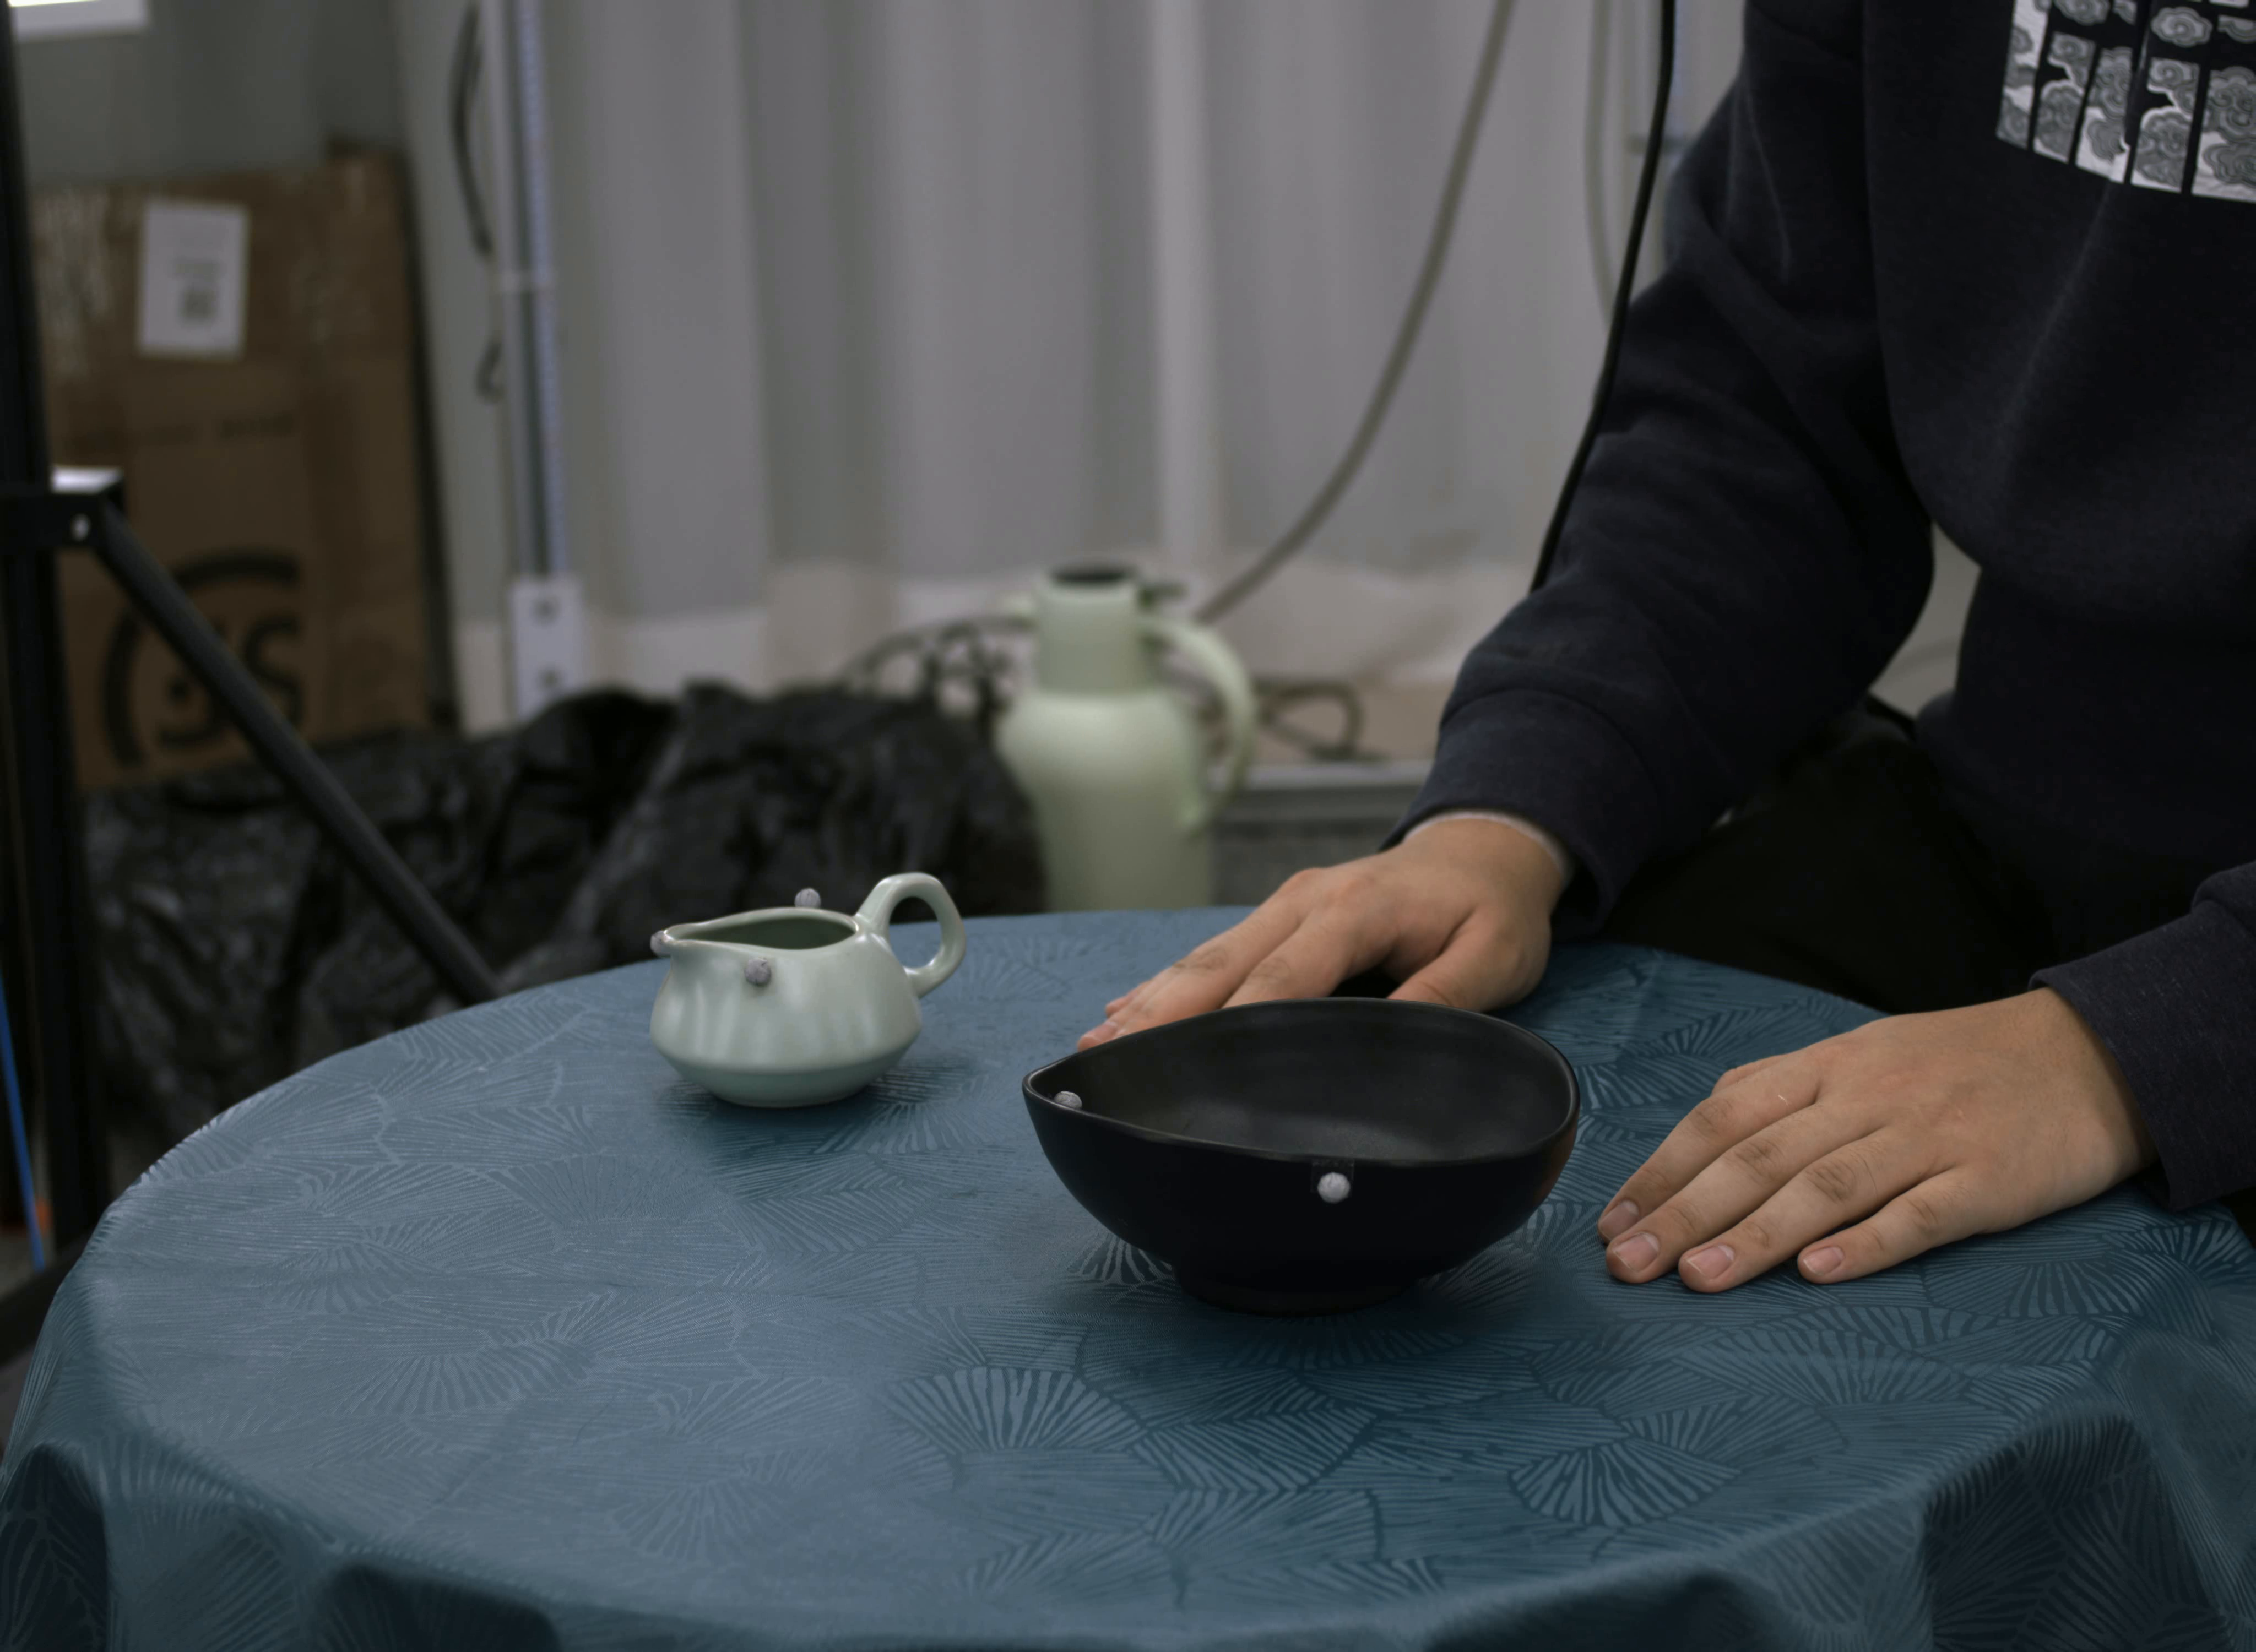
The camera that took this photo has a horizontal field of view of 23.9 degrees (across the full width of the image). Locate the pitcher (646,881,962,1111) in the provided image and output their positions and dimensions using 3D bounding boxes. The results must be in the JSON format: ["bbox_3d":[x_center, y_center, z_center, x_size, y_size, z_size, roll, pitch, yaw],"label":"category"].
[{"bbox_3d":[-0.099,0.052,1.667,0.105,0.060,0.088,-10,18,-34],"label":"pitcher"}]

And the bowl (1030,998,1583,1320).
[{"bbox_3d":[0.048,0.097,1.475,0.174,0.067,0.134,10,19,41],"label":"bowl"}]
